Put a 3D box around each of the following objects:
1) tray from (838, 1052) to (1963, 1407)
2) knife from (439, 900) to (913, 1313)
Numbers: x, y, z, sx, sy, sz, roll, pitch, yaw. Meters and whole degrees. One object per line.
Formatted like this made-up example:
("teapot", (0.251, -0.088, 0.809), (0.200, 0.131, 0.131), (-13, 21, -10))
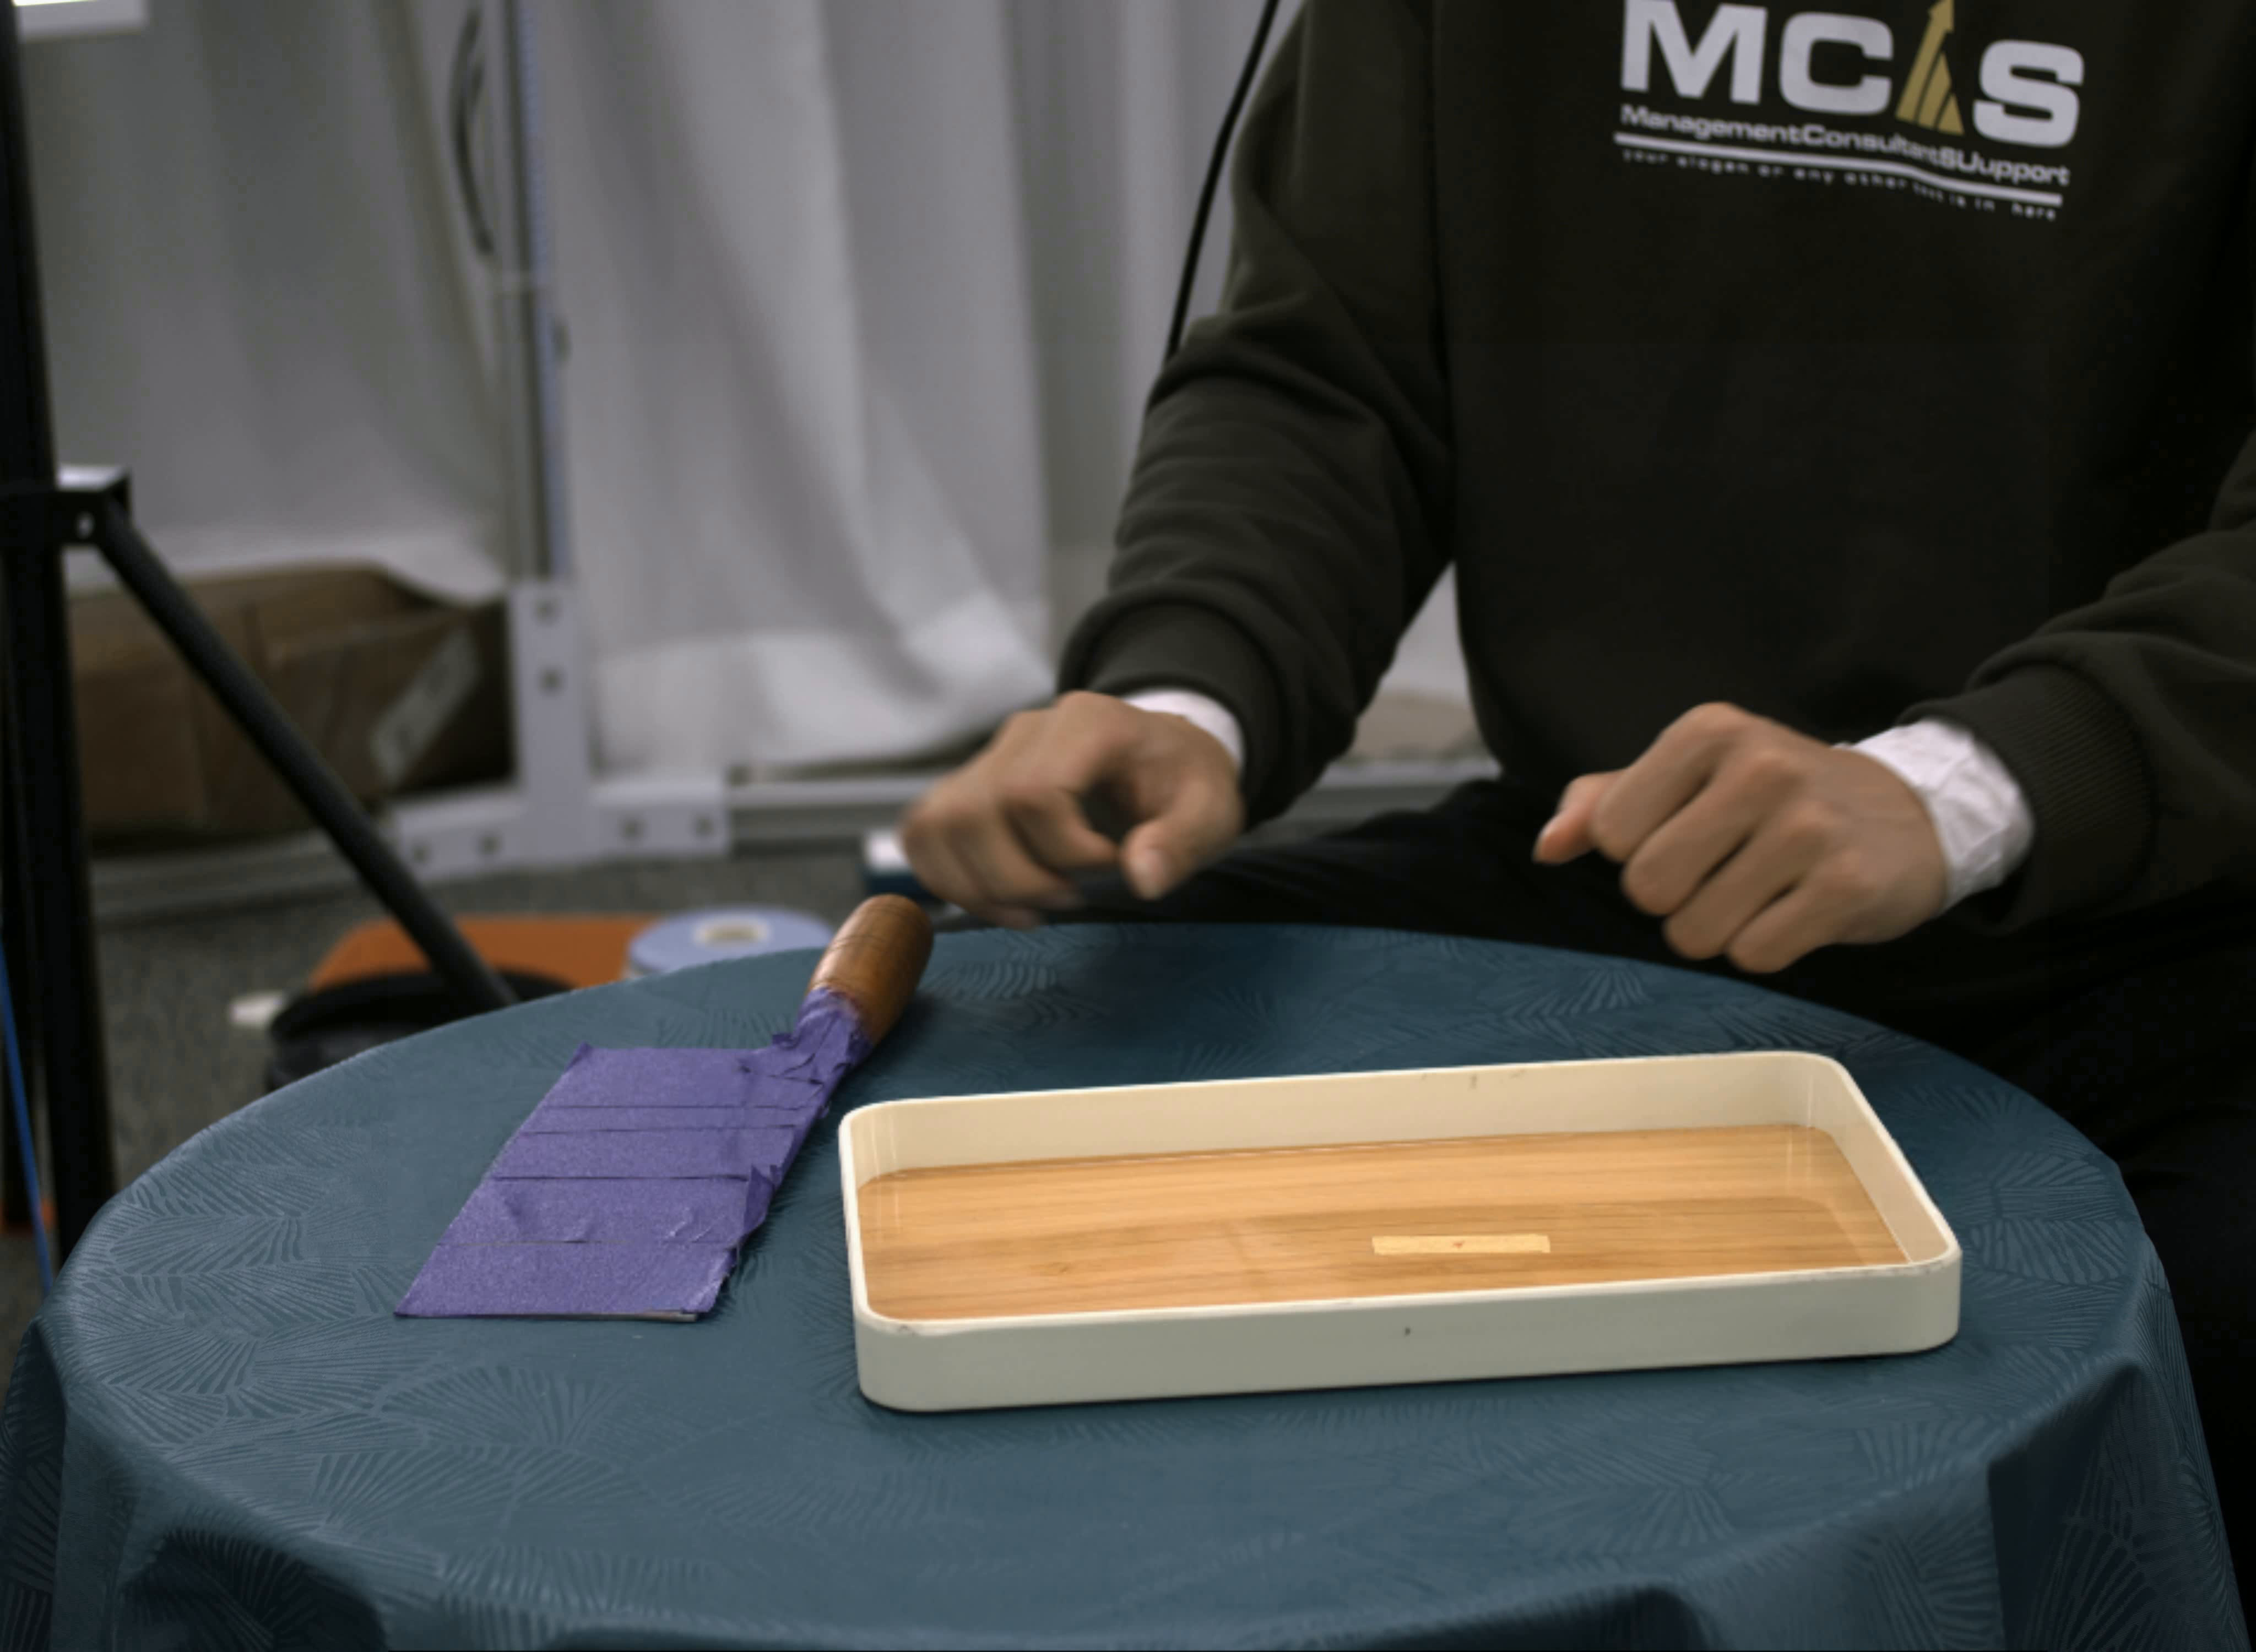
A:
("tray", (0.070, 0.111, 1.489), (0.298, 0.027, 0.193), (-3, 15, -2))
("knife", (-0.135, 0.082, 1.623), (0.104, 0.032, 0.314), (1, 17, 8))
